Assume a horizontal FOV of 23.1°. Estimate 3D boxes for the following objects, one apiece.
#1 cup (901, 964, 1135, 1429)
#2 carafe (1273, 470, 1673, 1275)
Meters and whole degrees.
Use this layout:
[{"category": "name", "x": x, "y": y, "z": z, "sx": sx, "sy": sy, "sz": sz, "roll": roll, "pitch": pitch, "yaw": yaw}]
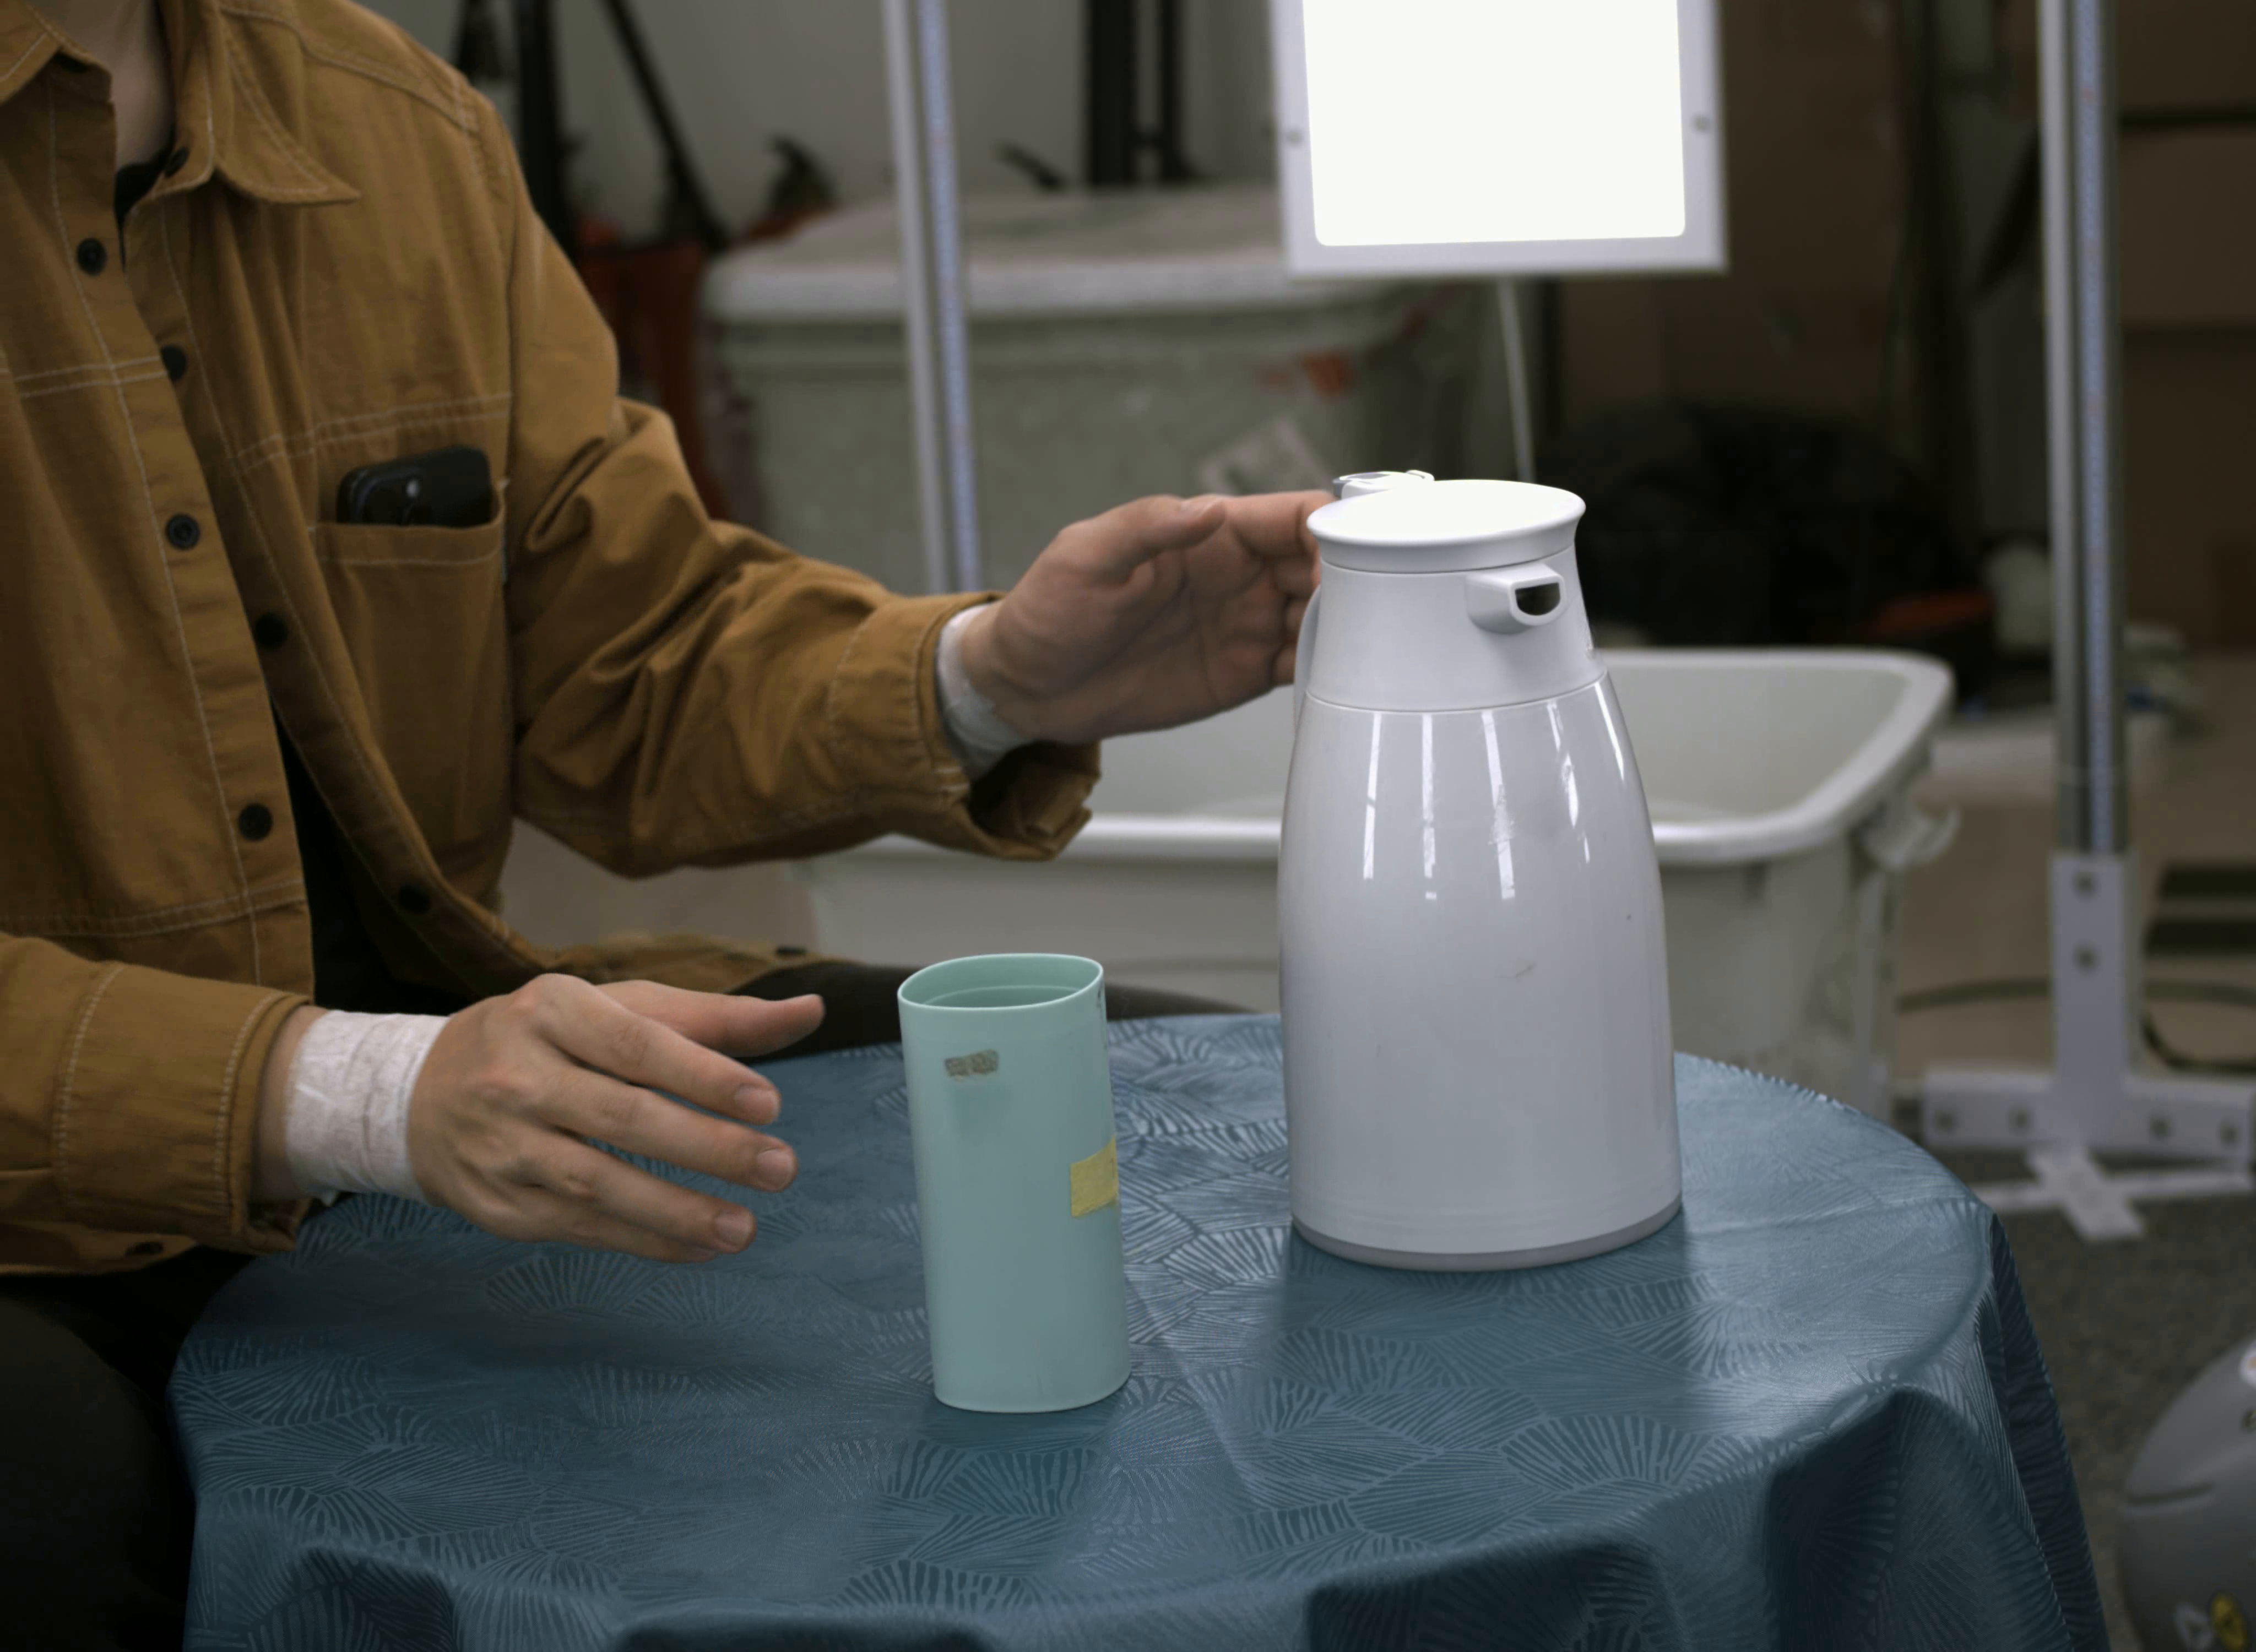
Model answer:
[{"category": "cup", "x": -0.034, "y": 0.114, "z": 1.705, "sx": 0.066, "sy": 0.133, "sz": 0.066, "roll": -4, "pitch": 13, "yaw": 0}, {"category": "carafe", "x": 0.103, "y": 0.007, "z": 1.833, "sx": 0.130, "sy": 0.249, "sz": 0.170, "roll": -9, "pitch": 13, "yaw": -22}]
